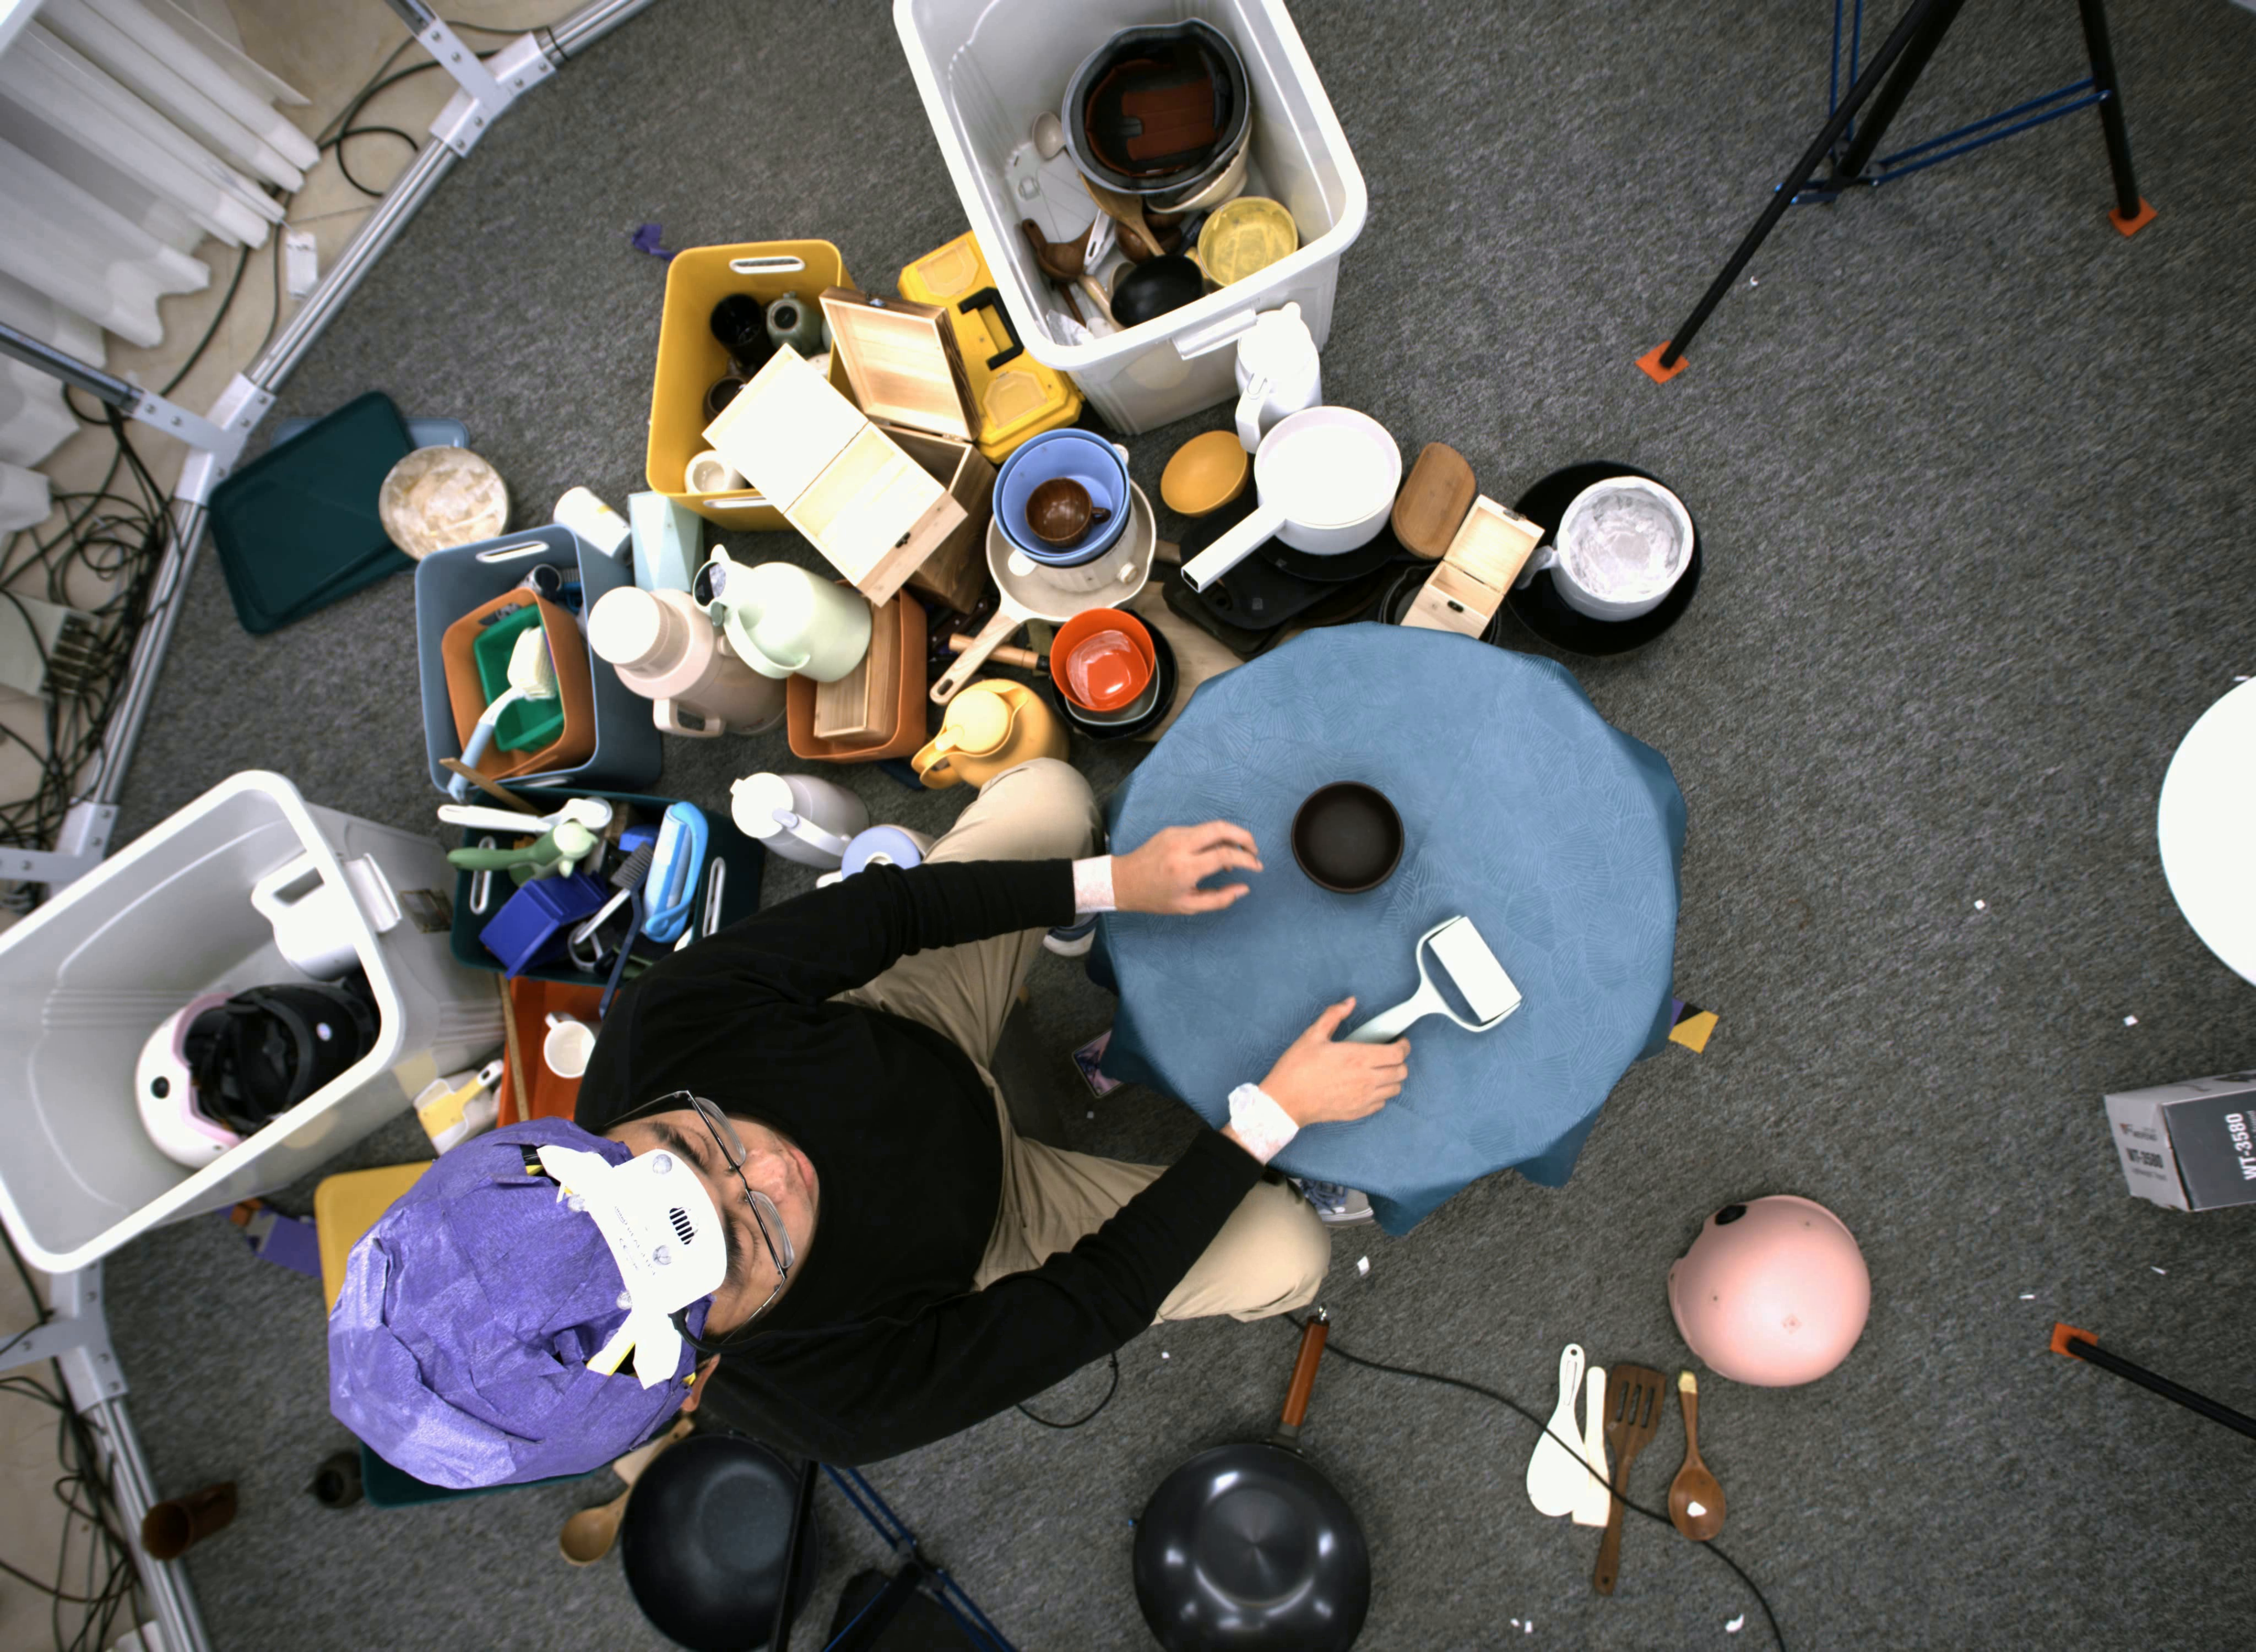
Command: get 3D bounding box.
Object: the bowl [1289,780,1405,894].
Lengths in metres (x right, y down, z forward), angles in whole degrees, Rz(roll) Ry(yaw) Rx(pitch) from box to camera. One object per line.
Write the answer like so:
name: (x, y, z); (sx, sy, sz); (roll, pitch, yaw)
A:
bowl: (0.228, 0.012, 1.435); (0.118, 0.070, 0.117); (-1, 87, 11)

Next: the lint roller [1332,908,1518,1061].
lint roller: (0.292, 0.179, 1.428); (0.199, 0.048, 0.116); (-35, 82, 8)
